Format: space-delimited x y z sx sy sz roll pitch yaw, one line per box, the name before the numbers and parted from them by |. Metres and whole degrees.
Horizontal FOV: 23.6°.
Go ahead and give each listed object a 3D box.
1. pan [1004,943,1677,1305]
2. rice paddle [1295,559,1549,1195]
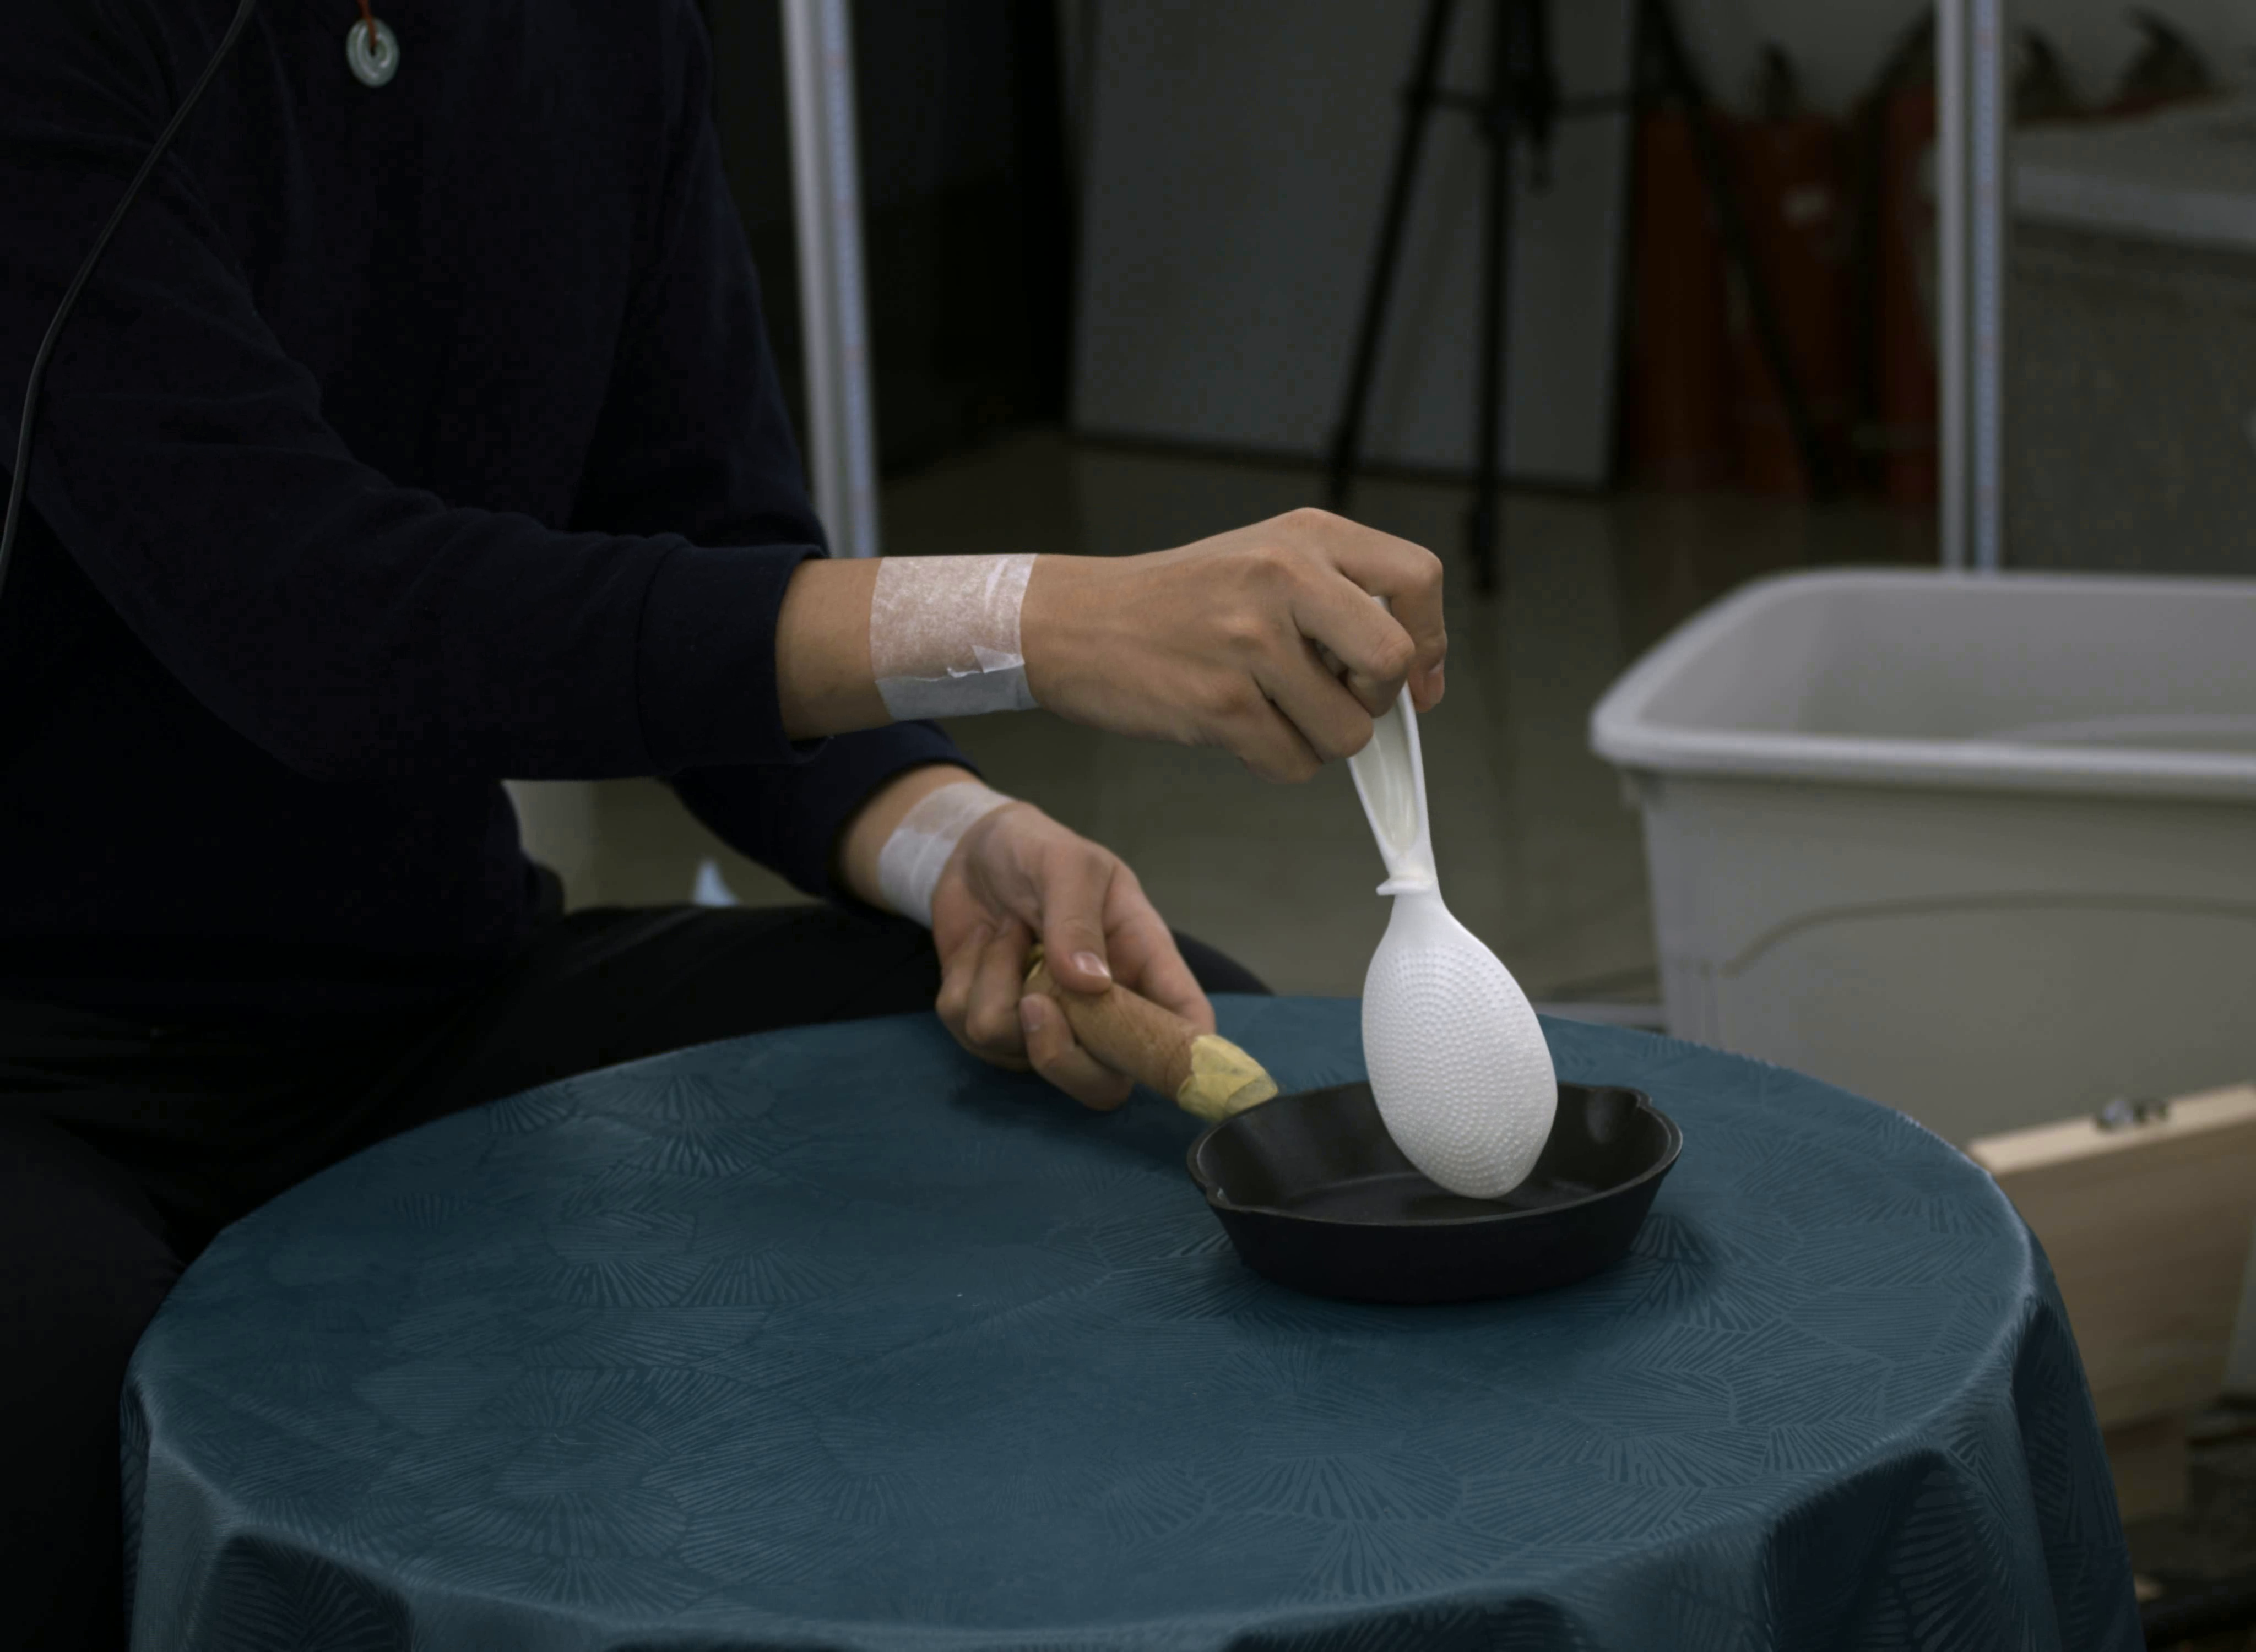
pan | 0.052 0.093 1.764 0.165 0.050 0.327 -12 17 -30
rice paddle | 0.090 0.019 1.712 0.069 0.207 0.029 -6 13 36
